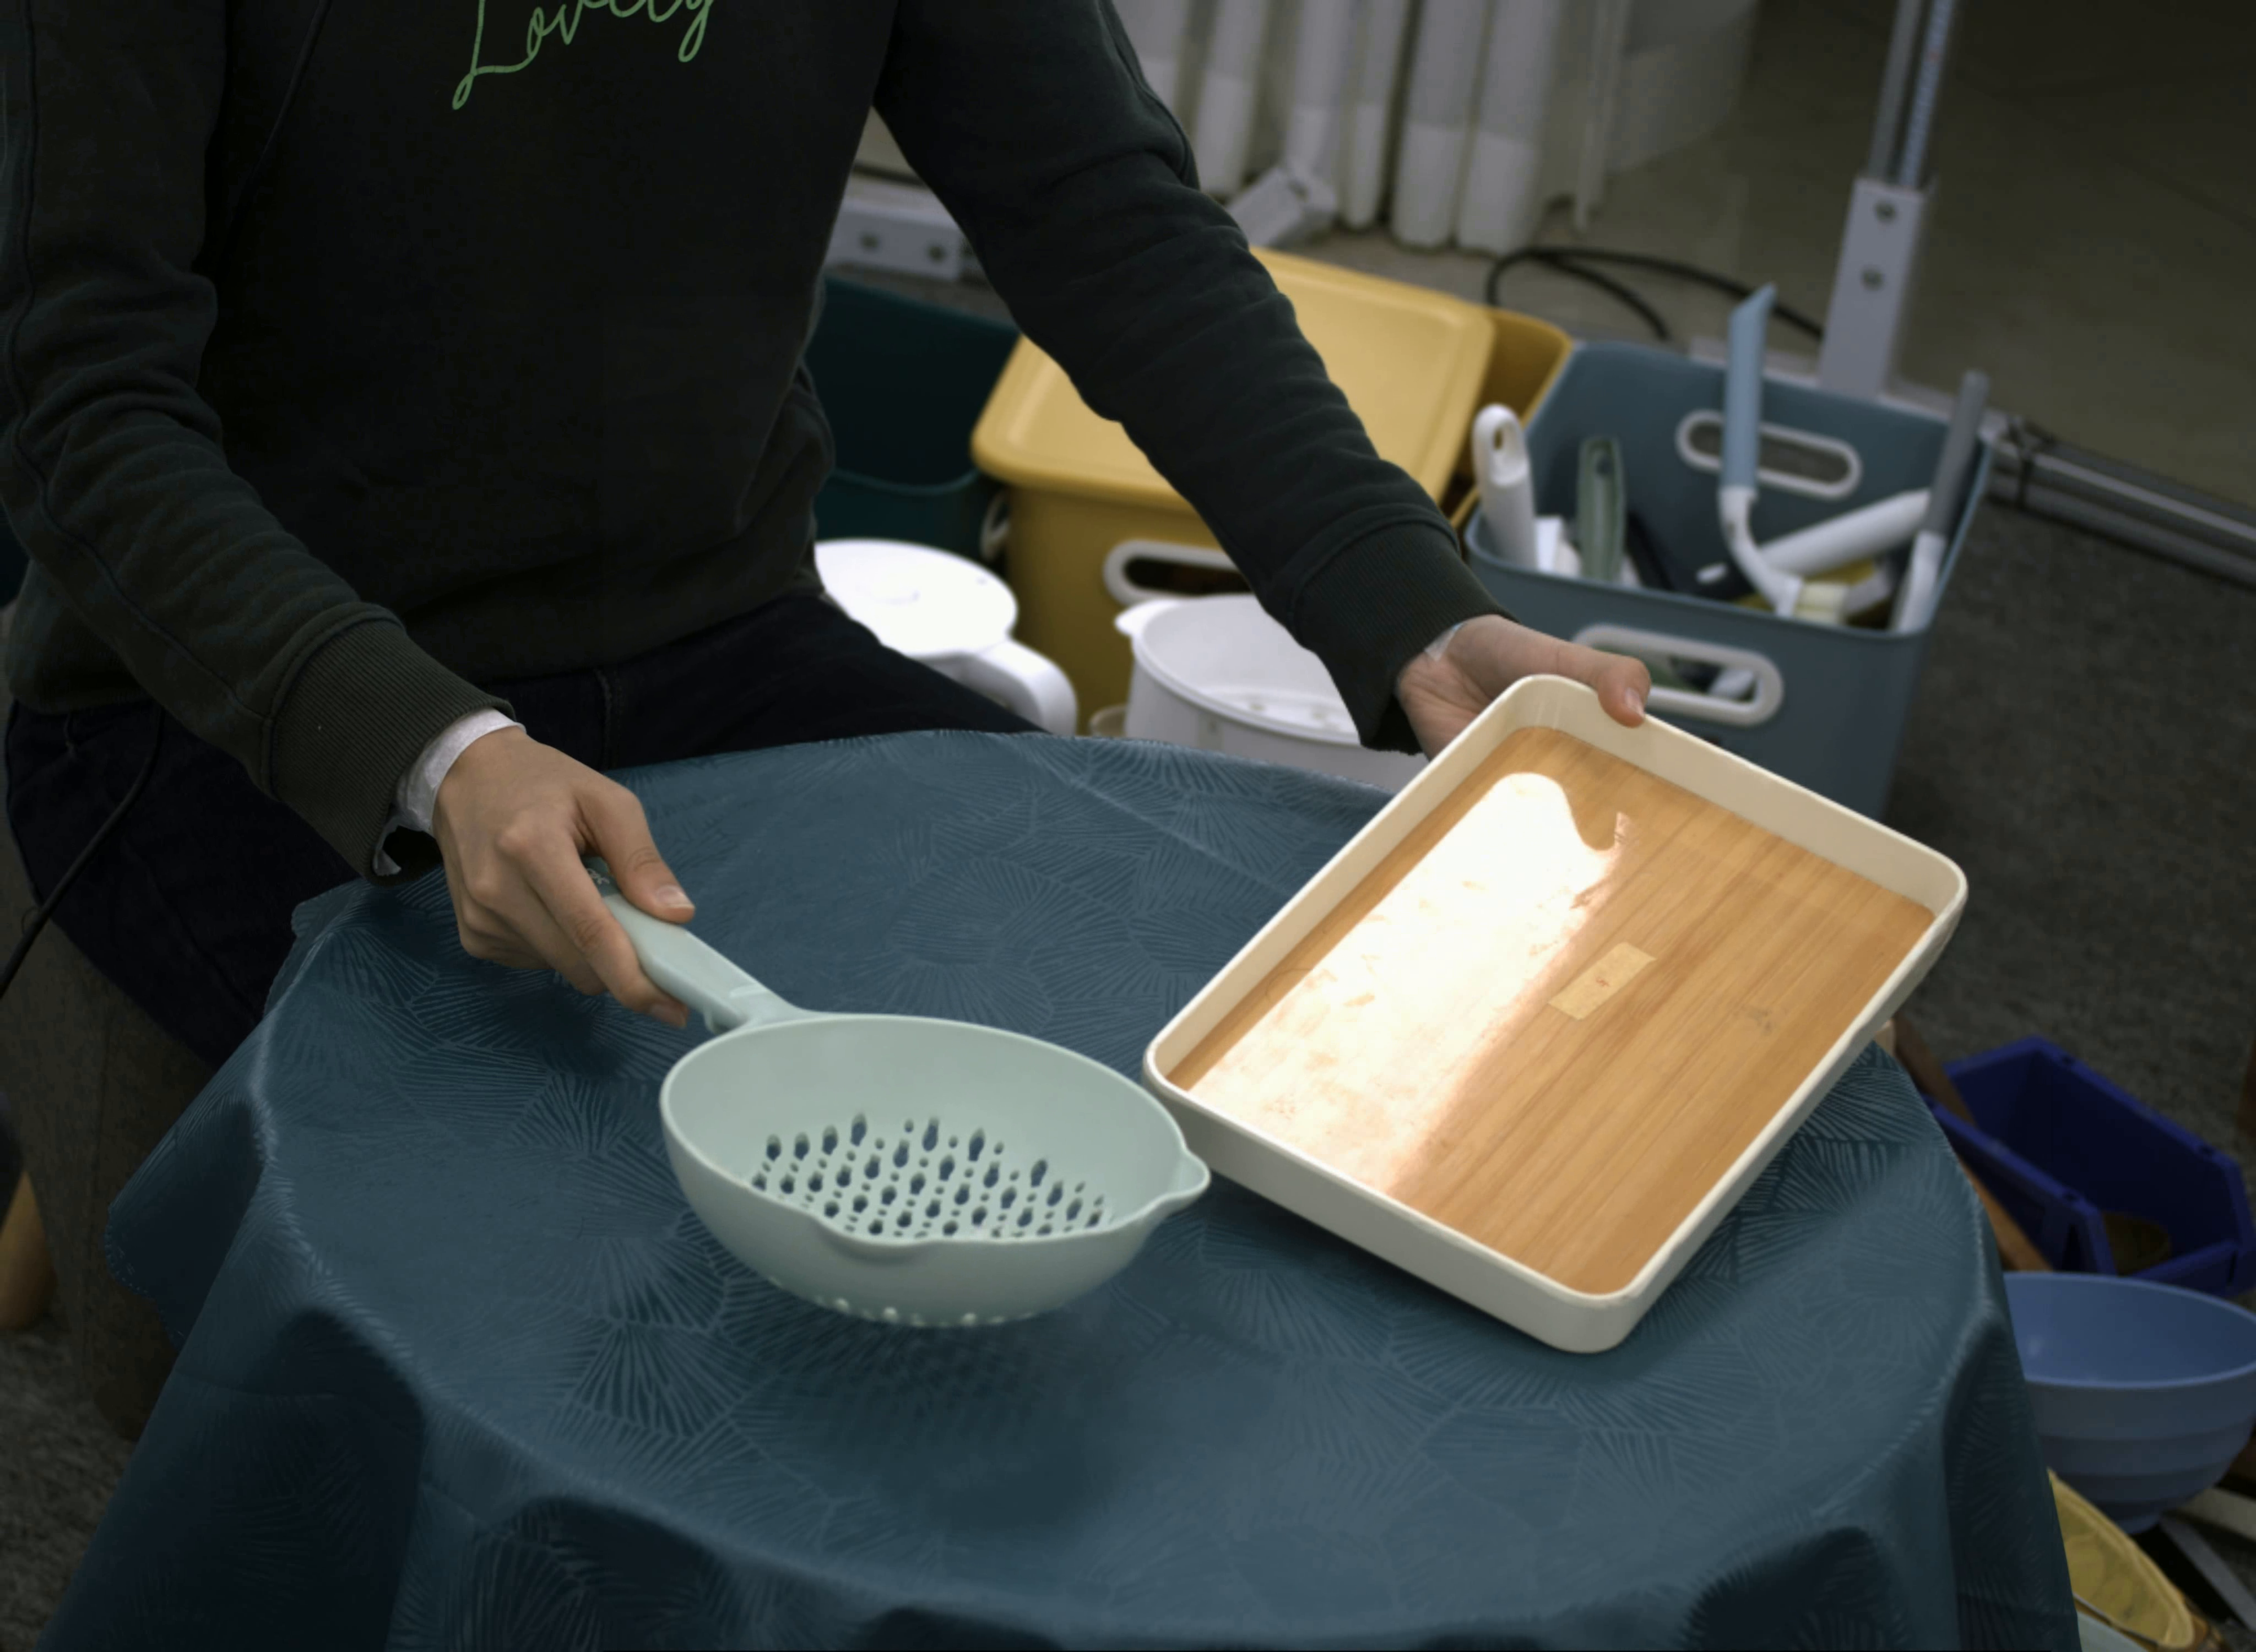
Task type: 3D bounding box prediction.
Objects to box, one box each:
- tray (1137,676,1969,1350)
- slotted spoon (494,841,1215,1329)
[{"bbox_3d":[0.153,0.058,1.863,0.192,0.027,0.300,26,40,20],"label":"tray"},{"bbox_3d":[-0.120,0.070,1.764,0.168,0.075,0.362,-6,32,-34],"label":"slotted spoon"}]
